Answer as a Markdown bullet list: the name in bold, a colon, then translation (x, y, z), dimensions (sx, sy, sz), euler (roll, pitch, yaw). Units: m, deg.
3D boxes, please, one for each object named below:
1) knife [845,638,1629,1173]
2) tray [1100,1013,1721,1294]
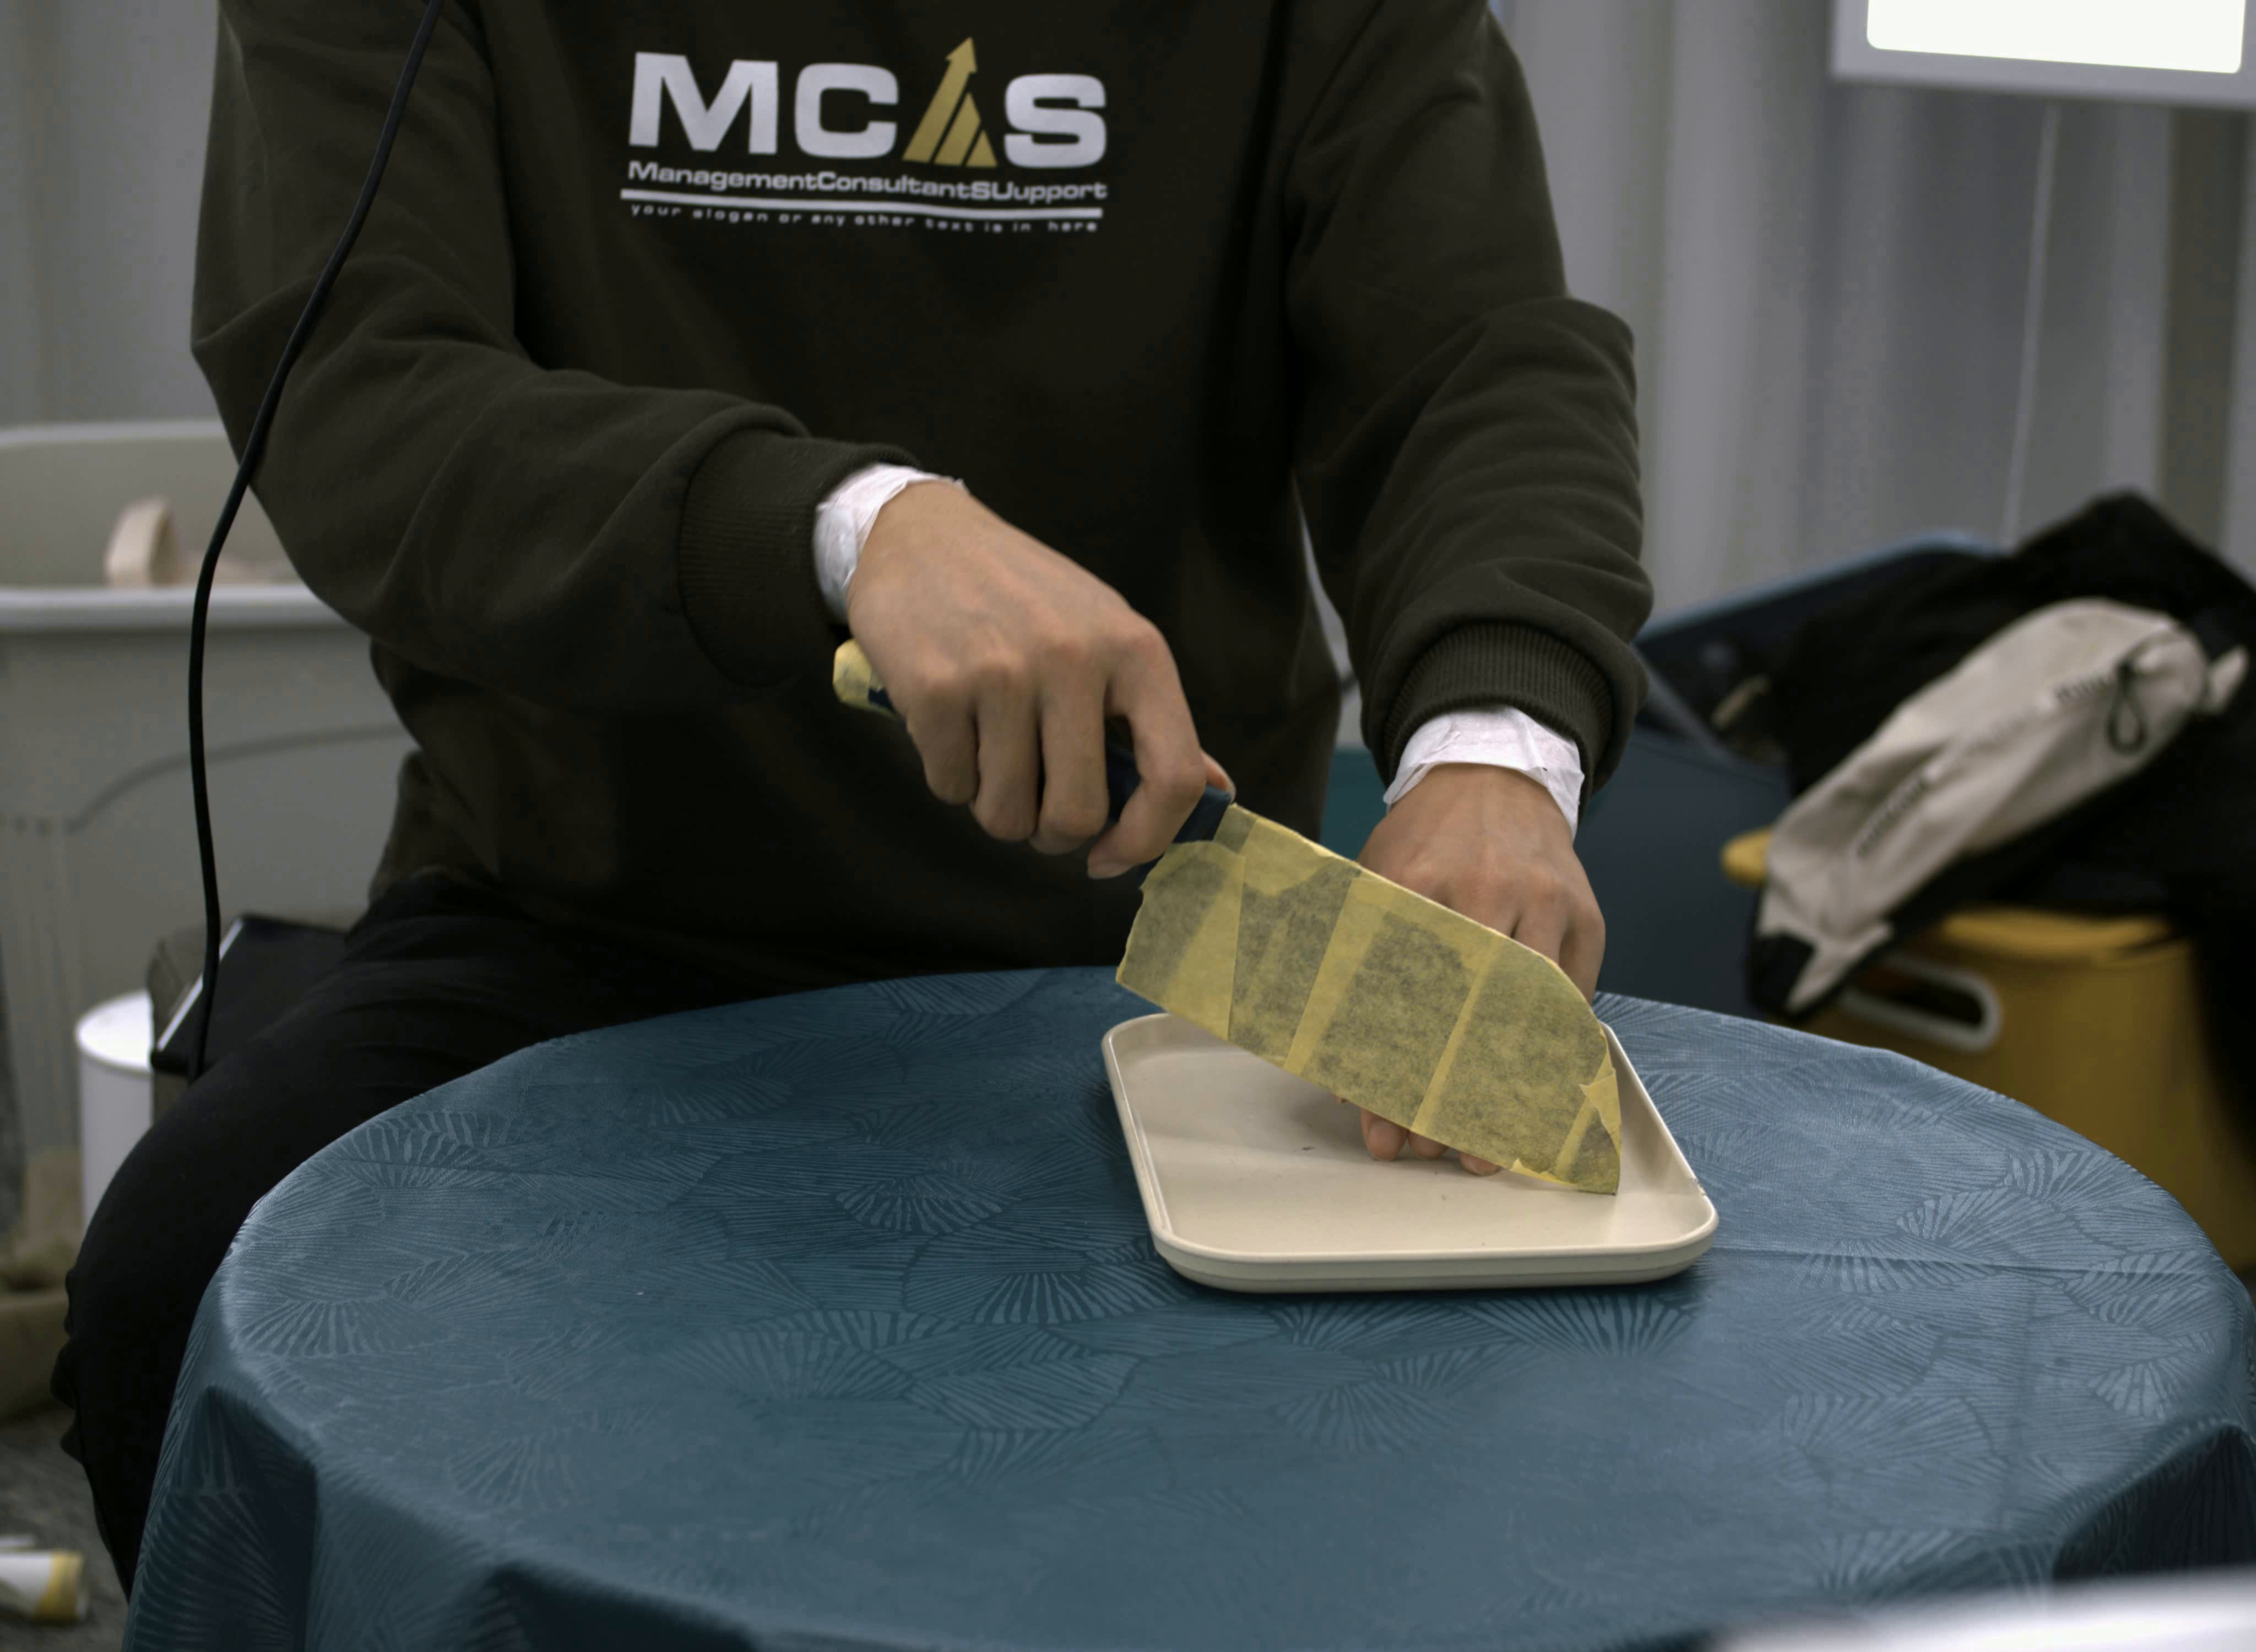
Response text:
- **knife**: translation (0.030, 0.024, 1.636), dimensions (0.287, 0.081, 0.027), euler (30, 20, 12)
- **tray**: translation (0.083, 0.099, 1.642), dimensions (0.171, 0.017, 0.238), euler (-1, 15, -5)
